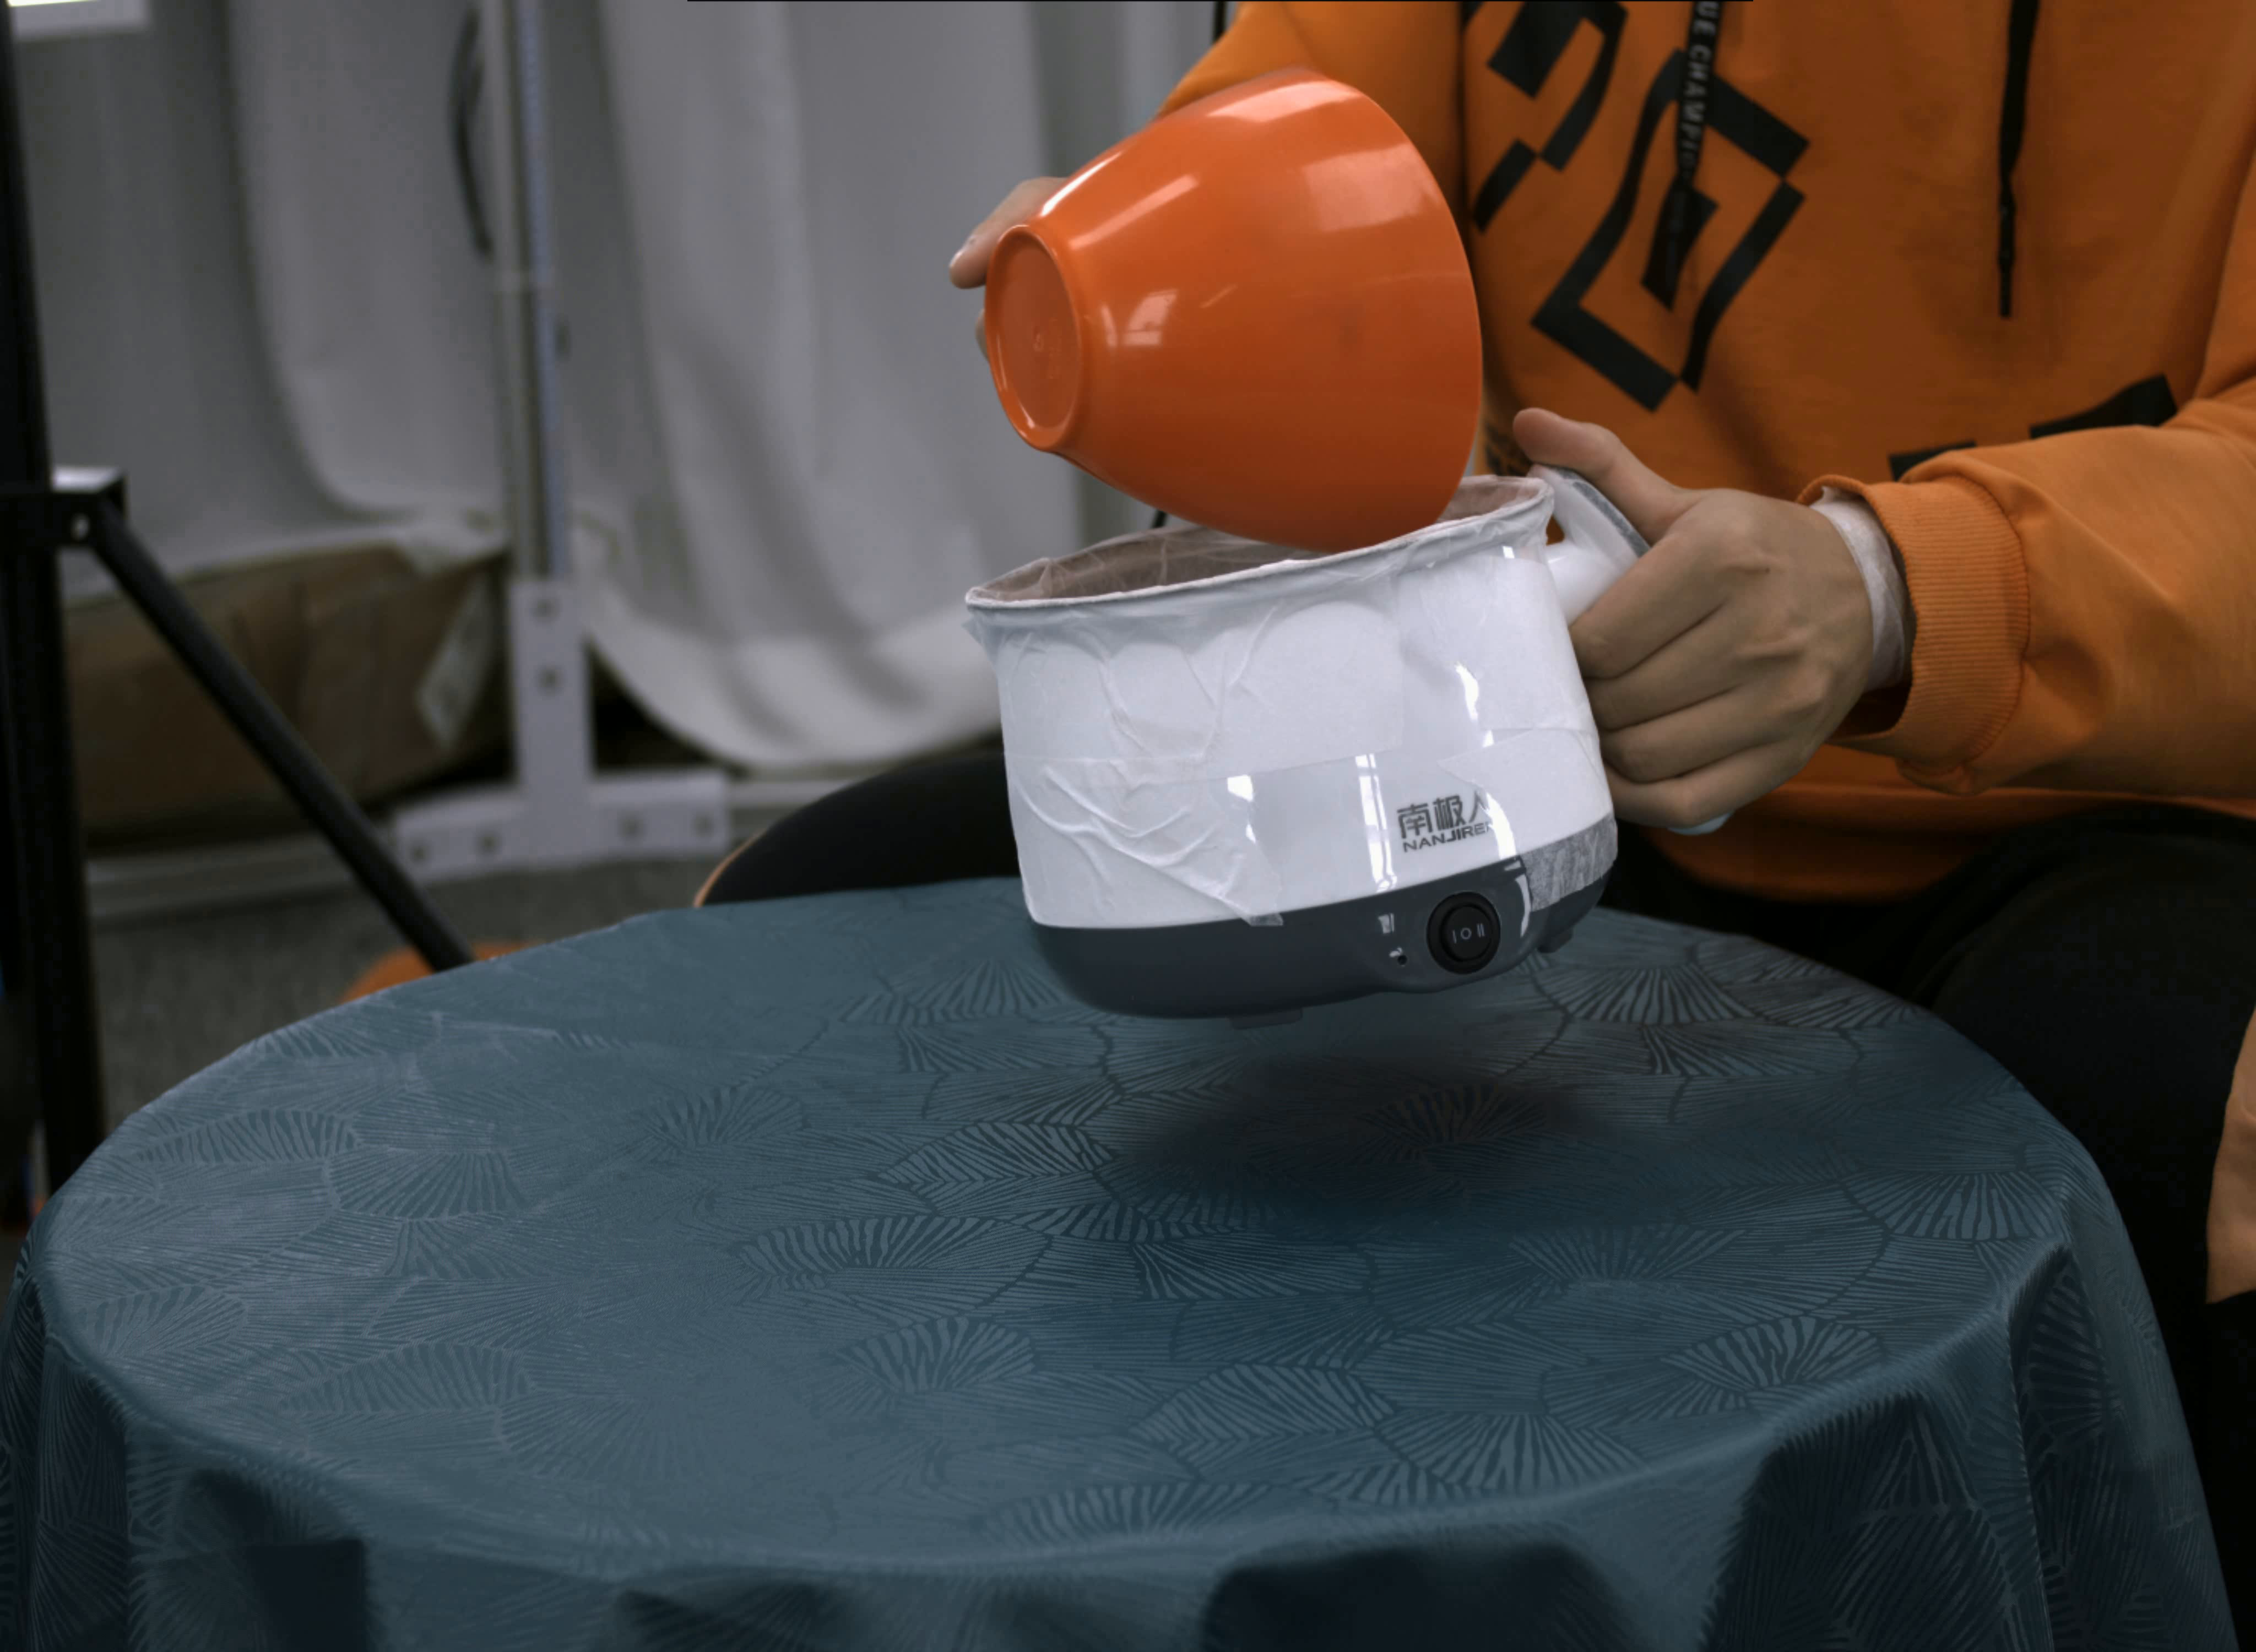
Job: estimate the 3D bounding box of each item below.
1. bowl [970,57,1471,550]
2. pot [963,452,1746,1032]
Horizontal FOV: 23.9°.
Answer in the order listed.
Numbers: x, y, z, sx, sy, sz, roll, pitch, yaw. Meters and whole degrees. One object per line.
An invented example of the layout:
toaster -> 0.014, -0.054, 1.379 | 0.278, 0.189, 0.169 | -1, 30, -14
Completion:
bowl -> 0.019, -0.147, 1.568 | 0.102, 0.148, 0.151 | -10, 18, -25
pot -> 0.074, -0.029, 1.583 | 0.229, 0.137, 0.182 | -15, 9, -24
